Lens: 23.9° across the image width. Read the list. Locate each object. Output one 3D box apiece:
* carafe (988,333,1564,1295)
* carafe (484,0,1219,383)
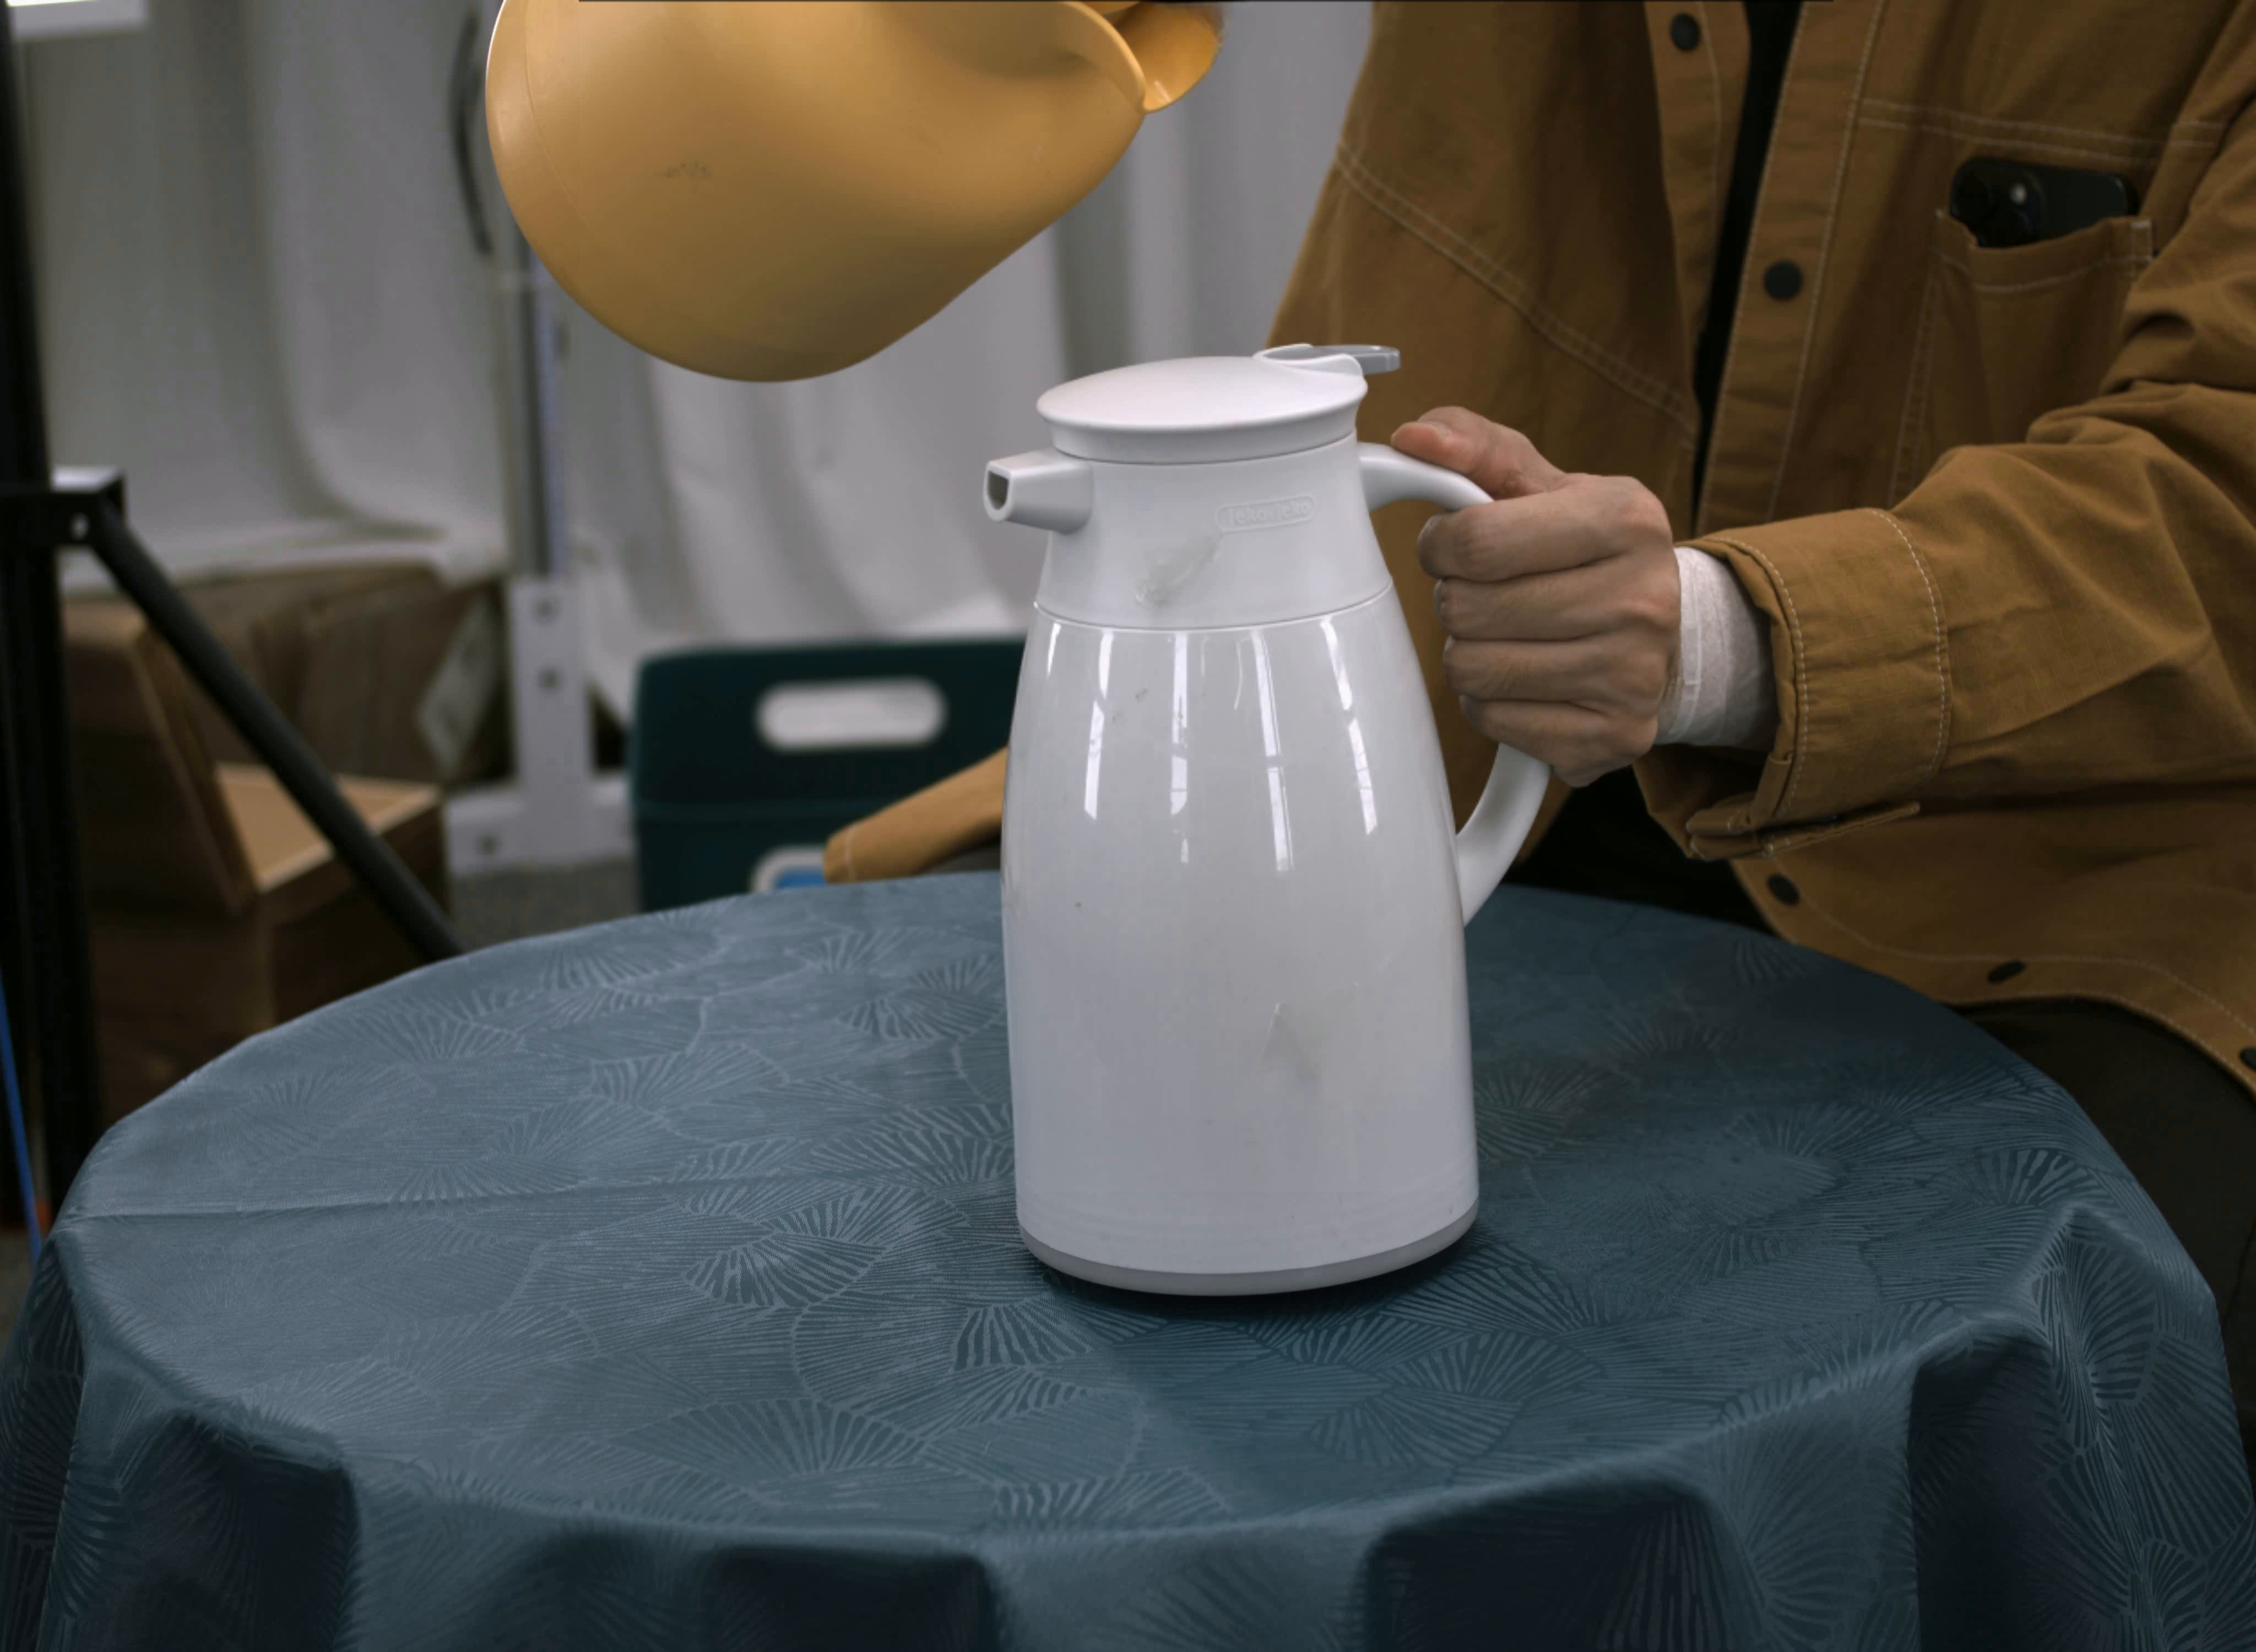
[{"bbox_3d":[0.044,-0.011,1.487,0.164,0.249,0.135,-8,14,-21],"label":"carafe"},{"bbox_3d":[-0.078,-0.257,1.555,0.160,0.203,0.264,-22,-3,-35],"label":"carafe"}]
